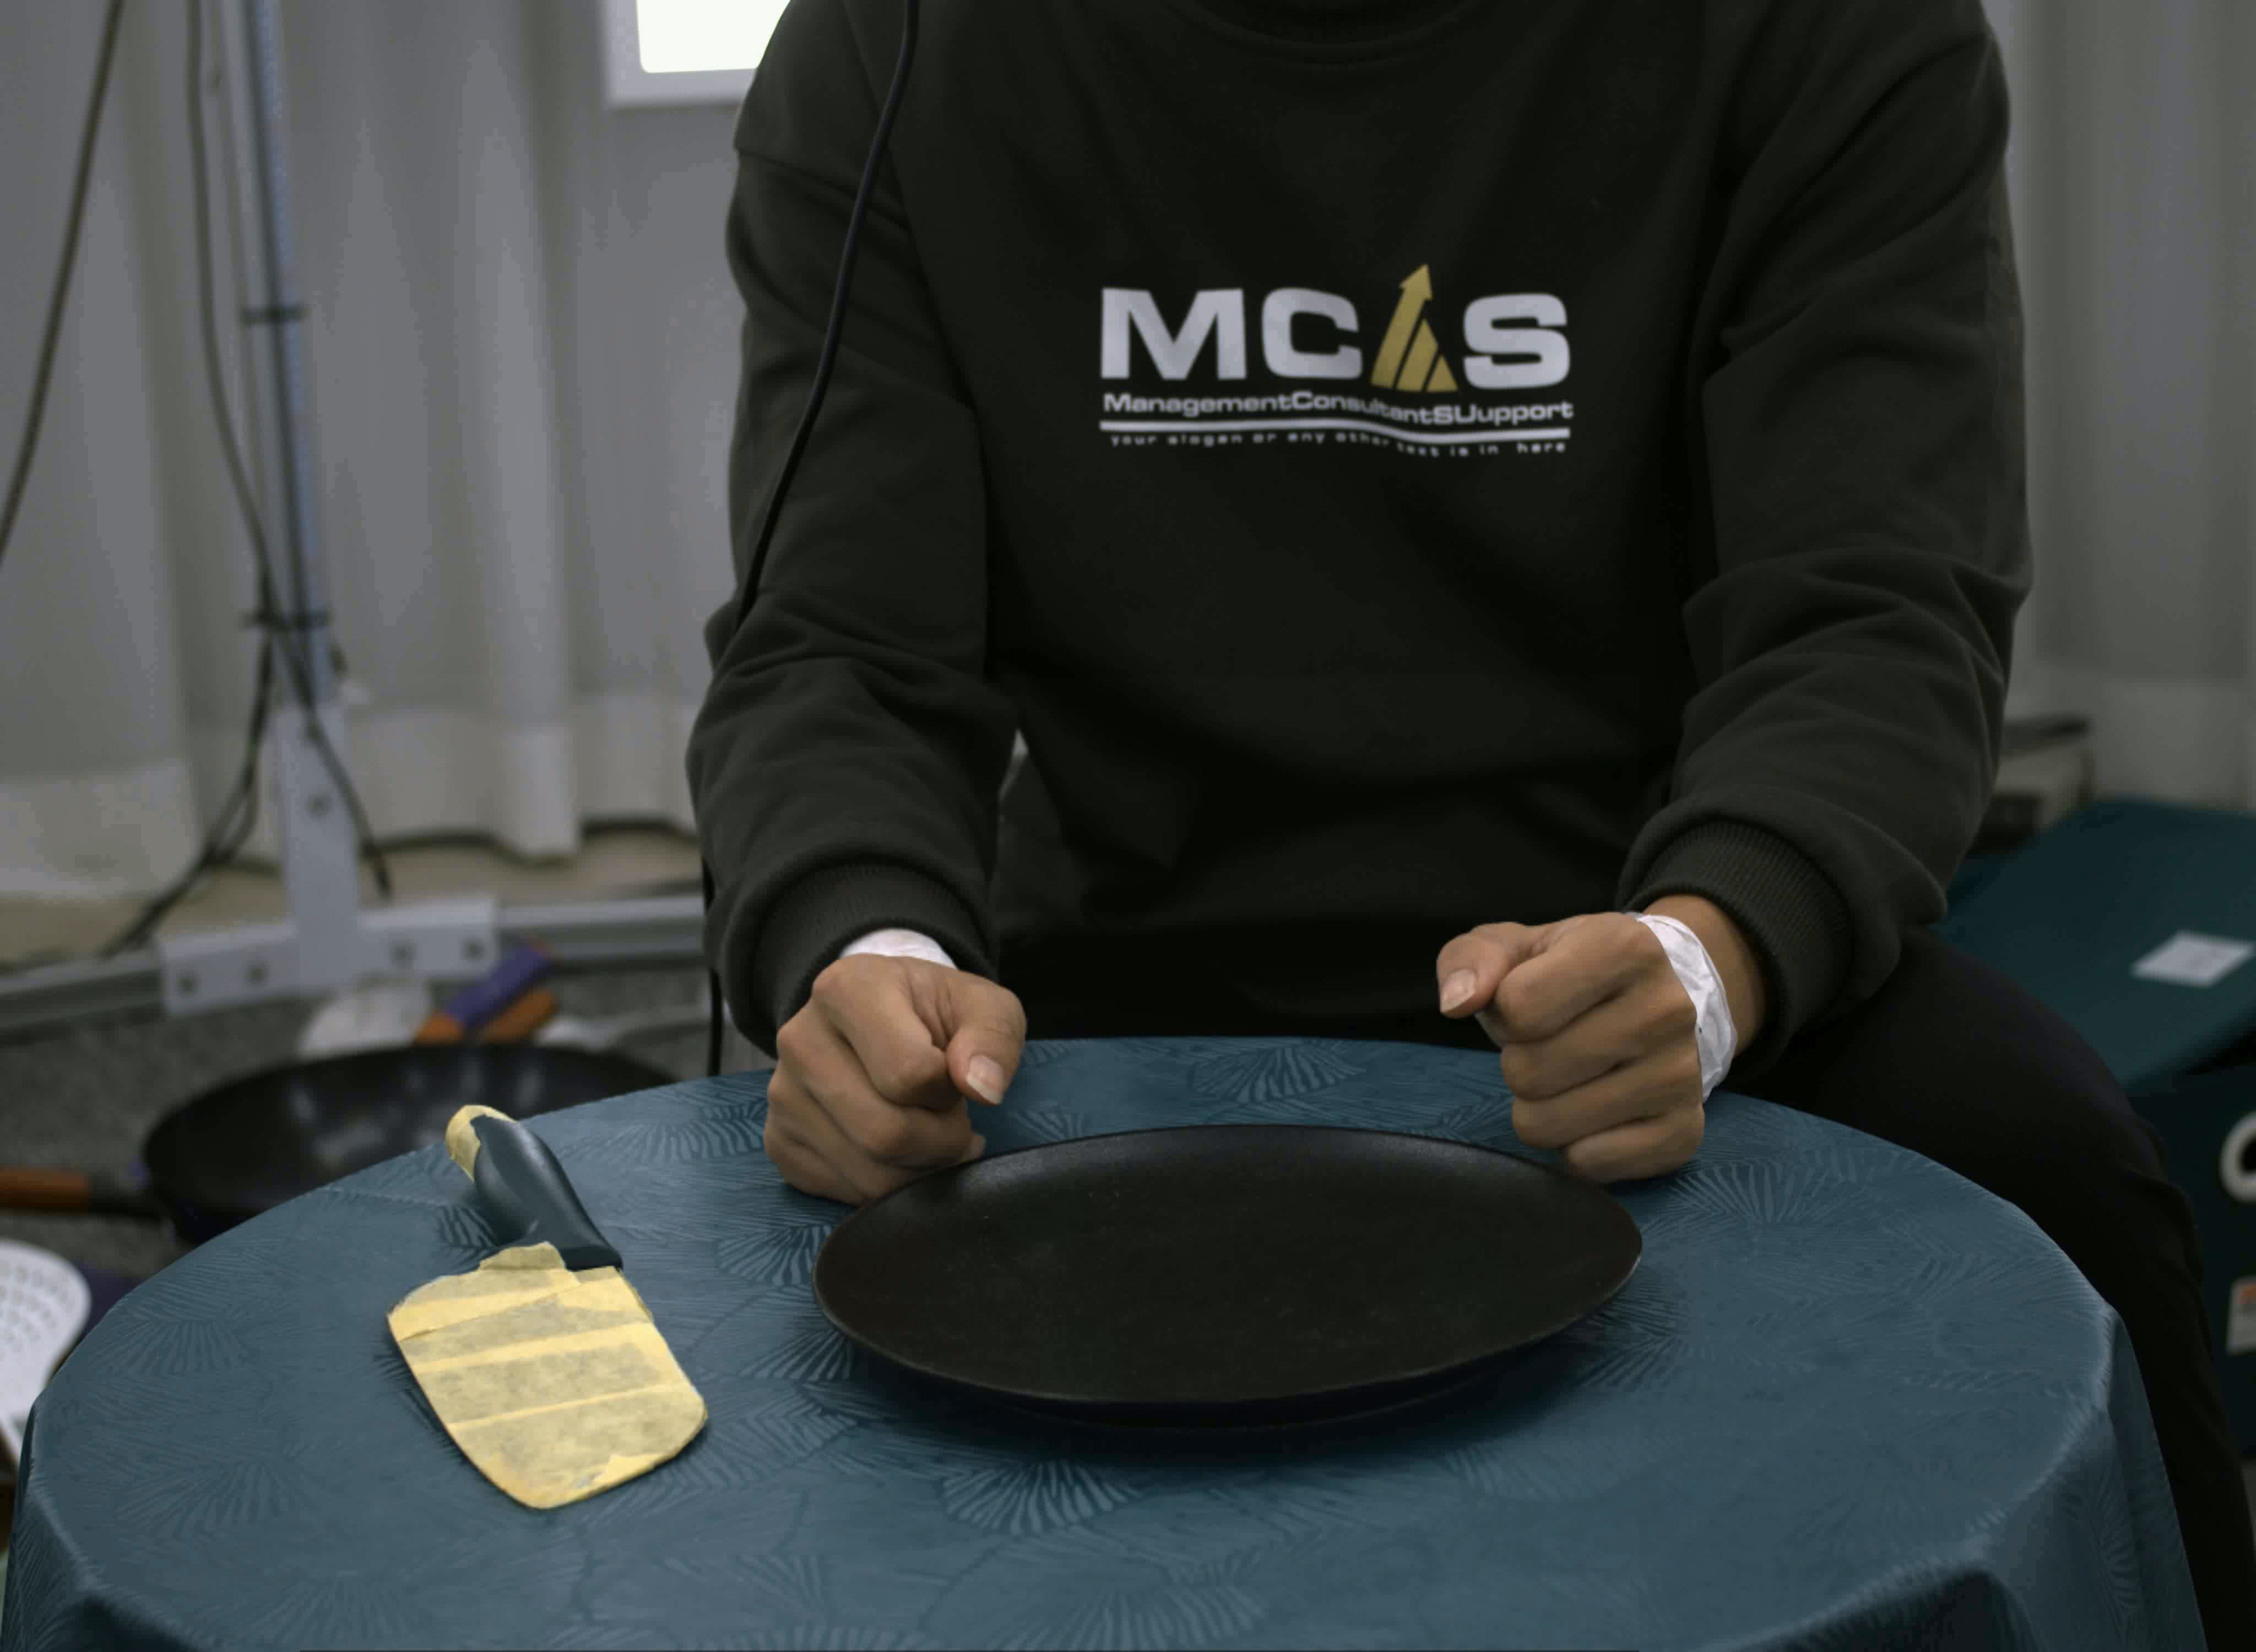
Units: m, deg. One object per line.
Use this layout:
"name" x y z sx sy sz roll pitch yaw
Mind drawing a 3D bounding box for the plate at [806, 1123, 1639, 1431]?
"plate" 0.028 0.134 1.594 0.243 0.023 0.246 -3 15 0

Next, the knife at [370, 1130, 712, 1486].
"knife" -0.182 0.142 1.619 0.080 0.027 0.292 -5 16 -15
